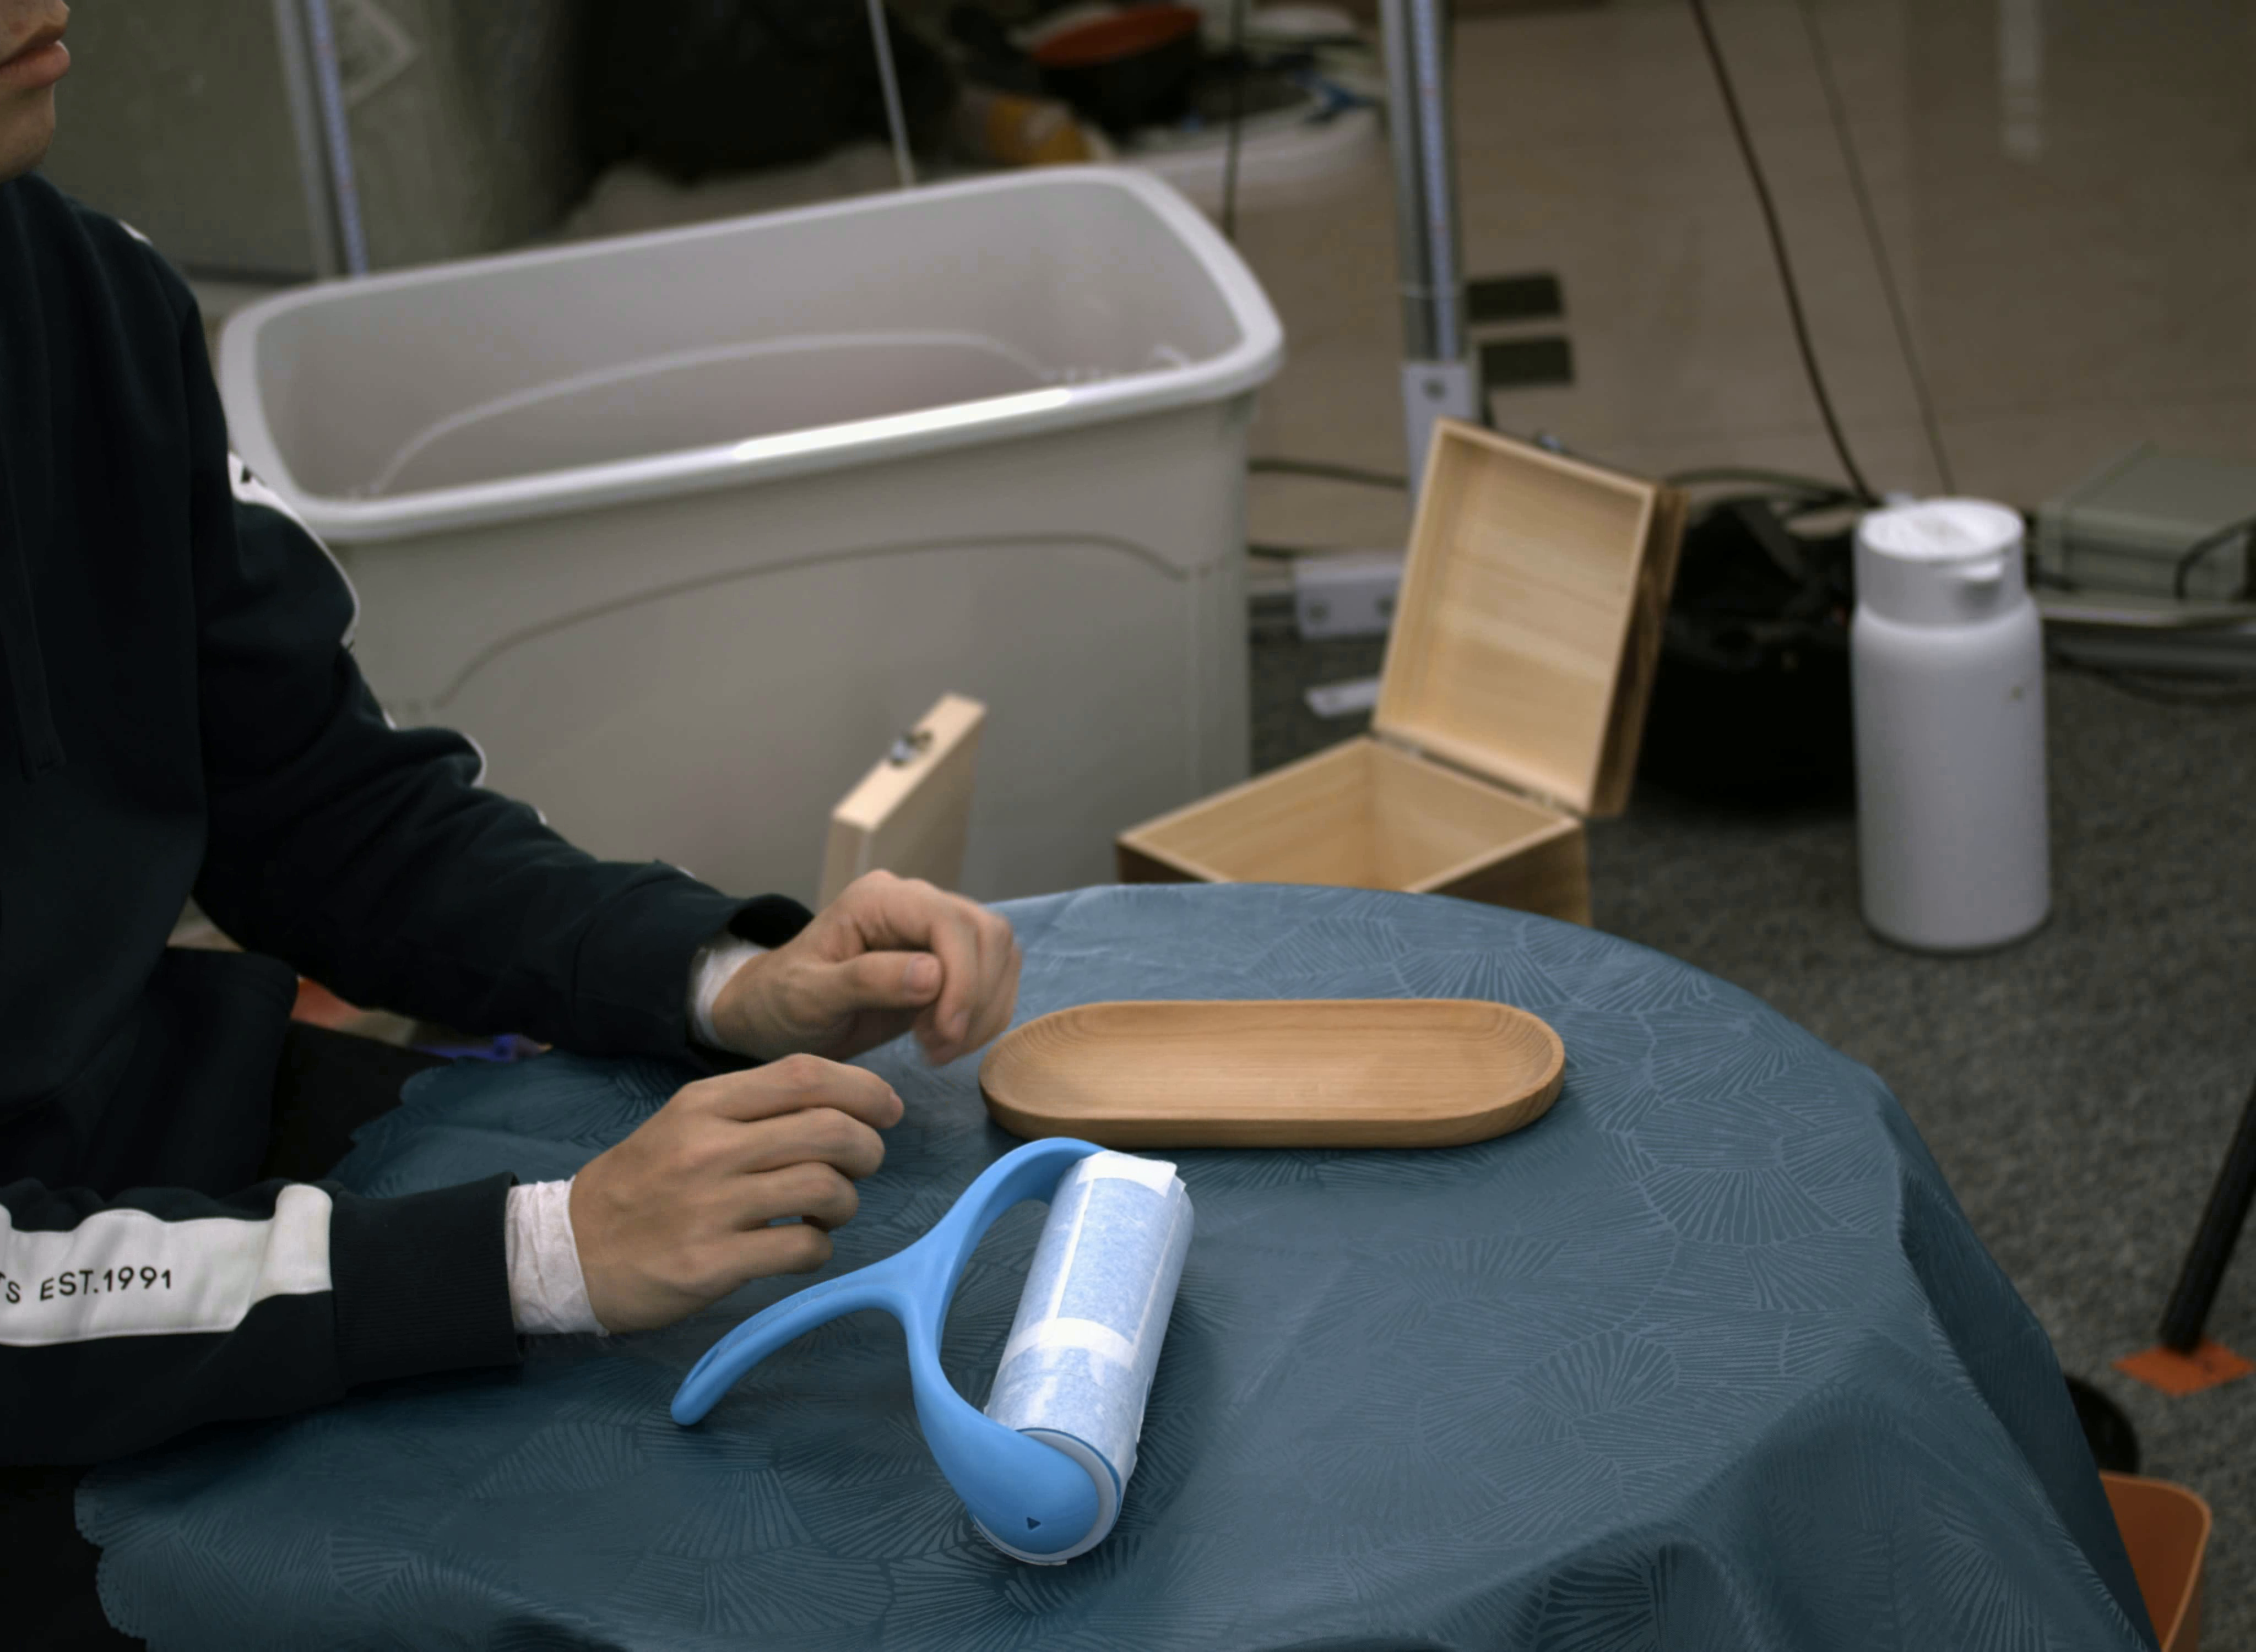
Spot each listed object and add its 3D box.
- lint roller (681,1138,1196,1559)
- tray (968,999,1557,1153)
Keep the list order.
[{"bbox_3d":[-0.073,0.184,1.996,0.180,0.069,0.225,-2,27,7],"label":"lint roller"},{"bbox_3d":[0.052,0.098,2.200,0.231,0.020,0.100,-3,24,12],"label":"tray"}]
